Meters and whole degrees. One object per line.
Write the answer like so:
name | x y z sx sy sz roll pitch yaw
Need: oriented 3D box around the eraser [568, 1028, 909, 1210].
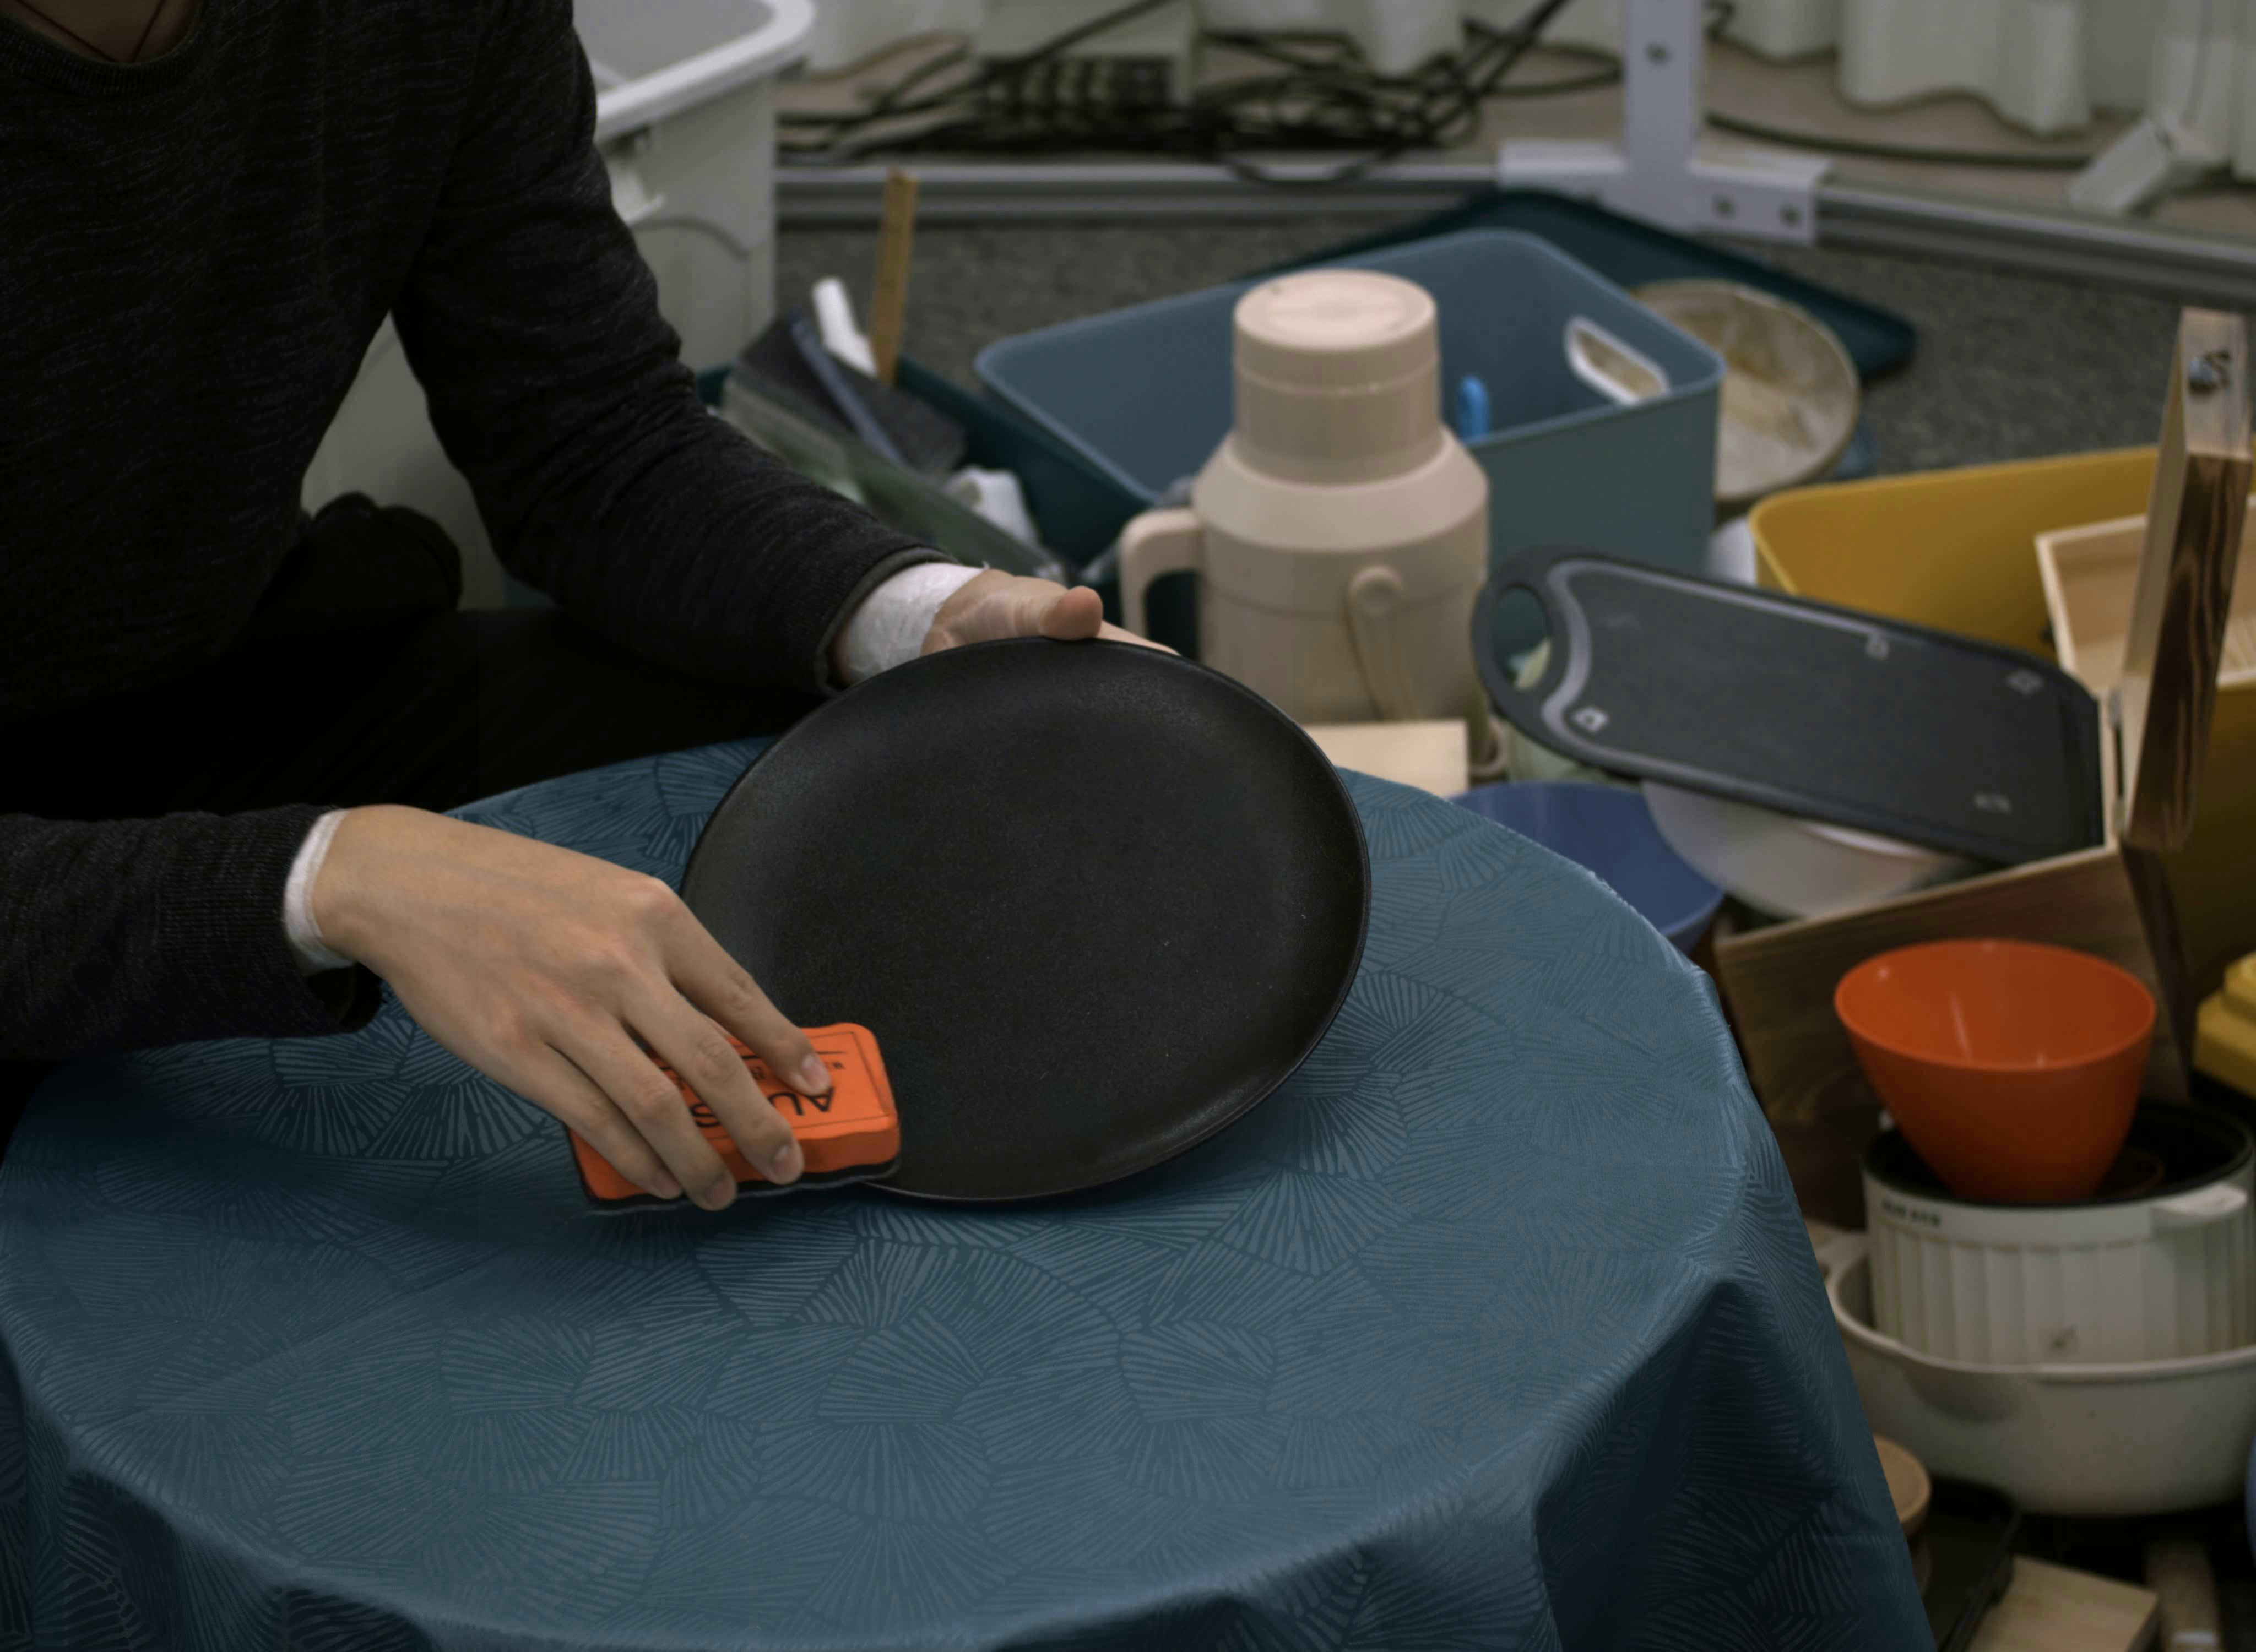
eraser | -0.129 0.097 1.863 0.108 0.022 0.060 -6 36 -14

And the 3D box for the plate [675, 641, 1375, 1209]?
plate | -0.035 0.035 1.933 0.243 0.023 0.249 -4 50 5
